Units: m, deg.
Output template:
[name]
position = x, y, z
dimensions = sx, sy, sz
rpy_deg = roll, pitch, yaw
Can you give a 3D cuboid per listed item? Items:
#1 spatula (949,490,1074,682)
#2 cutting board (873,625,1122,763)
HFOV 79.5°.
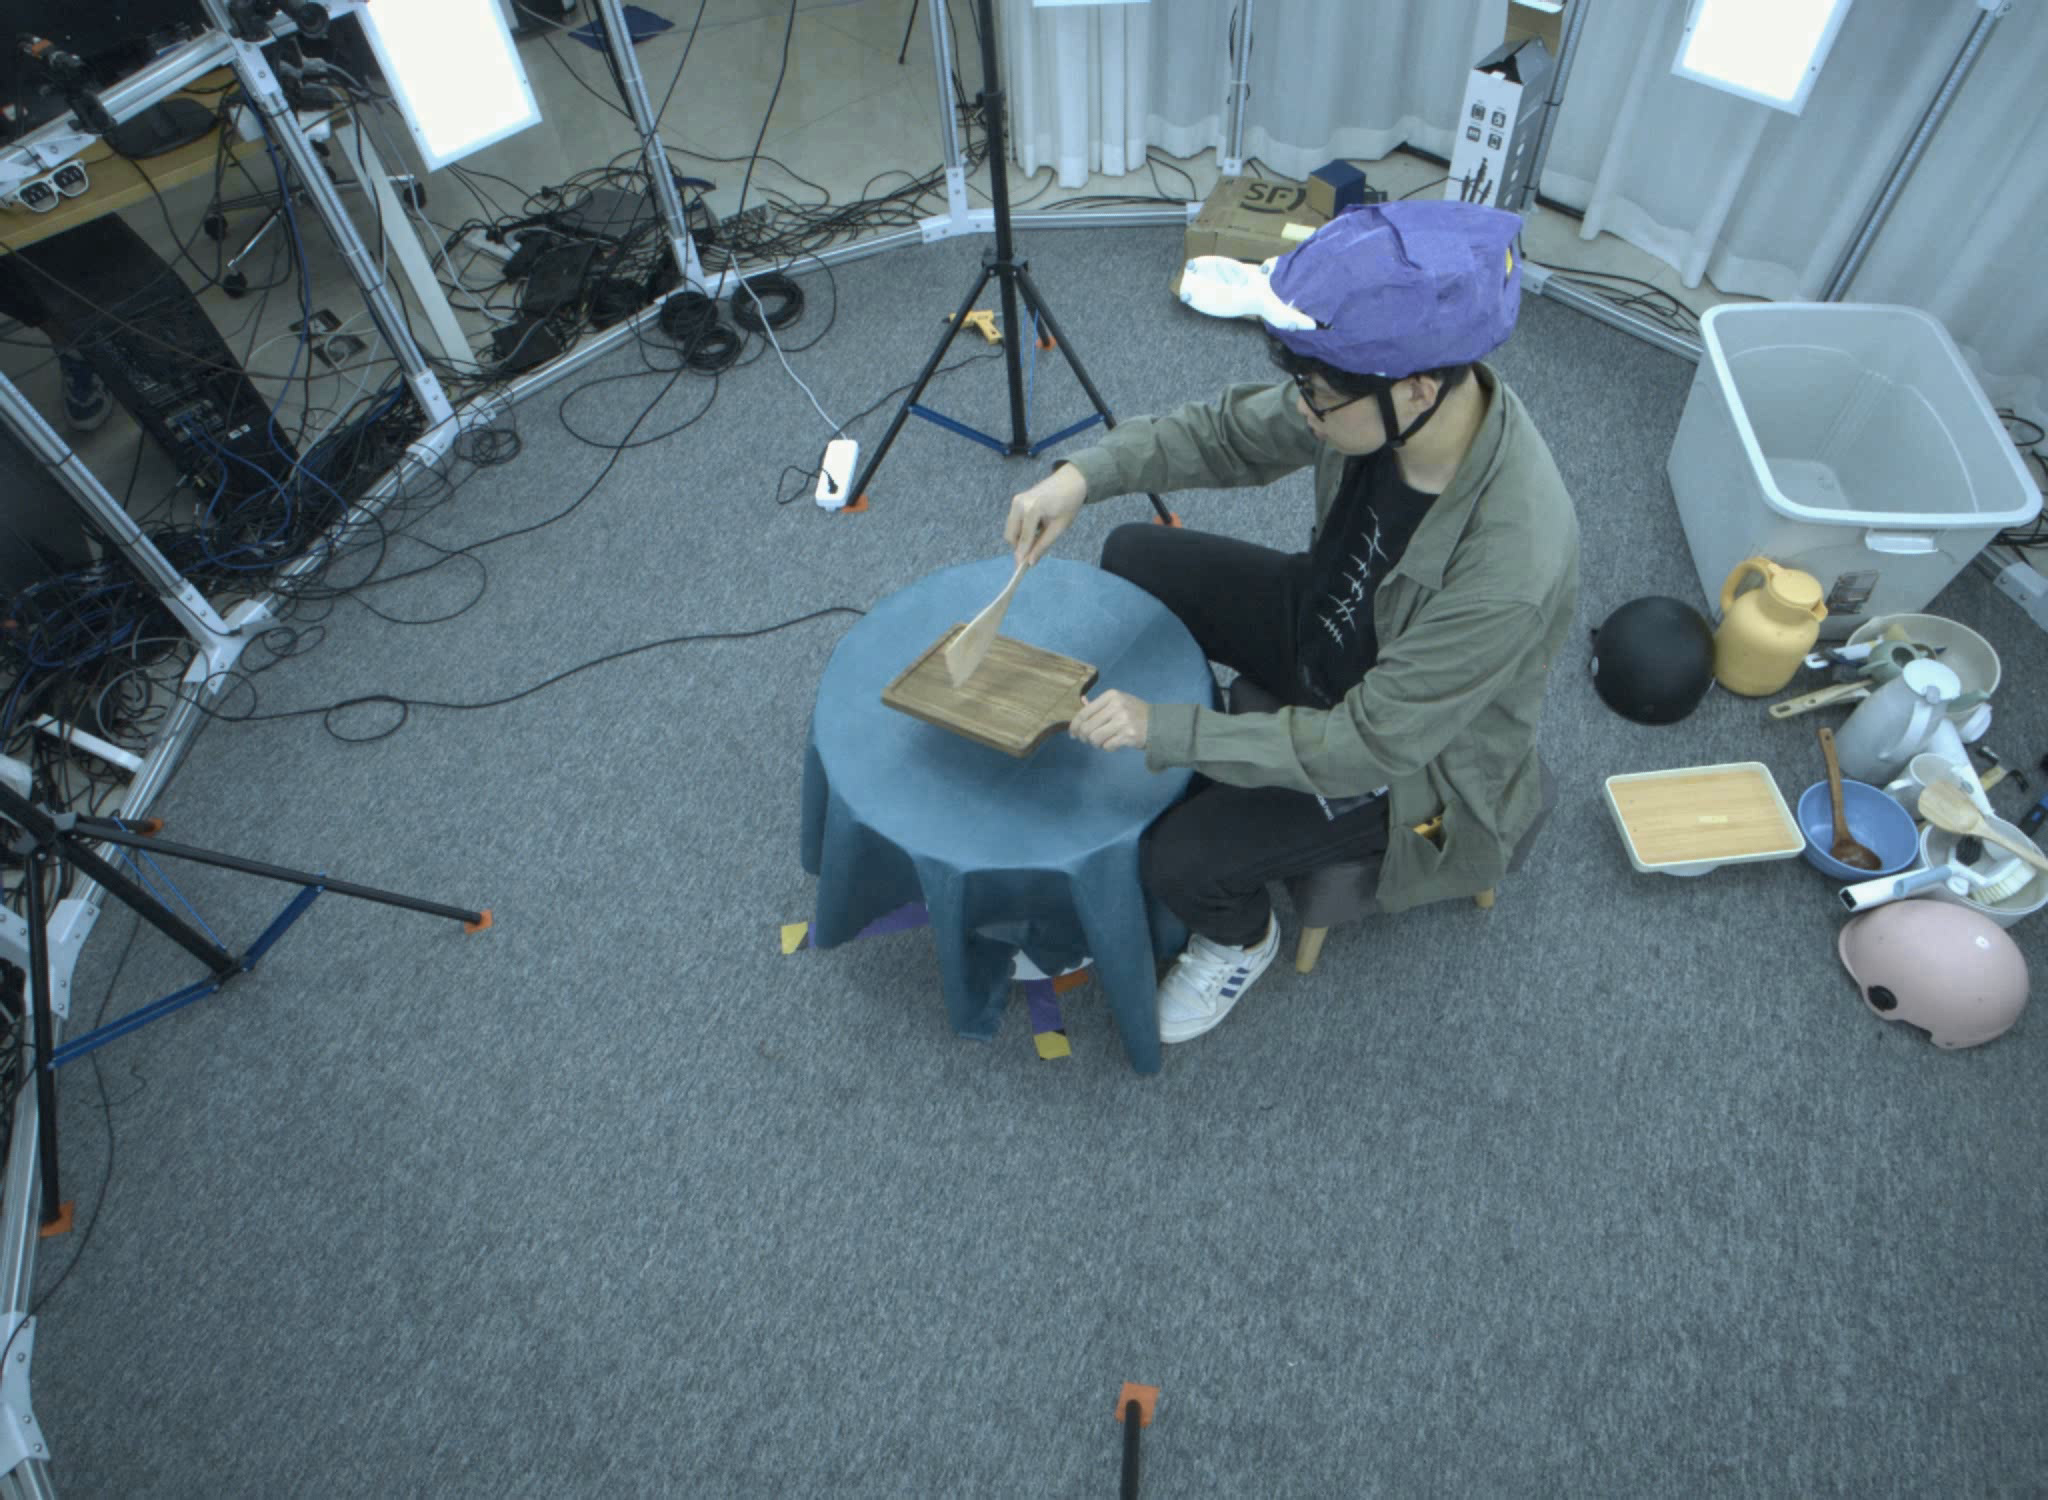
[spatula]
position = -0.014, -0.239, 1.703
dimensions = 0.016, 0.081, 0.328
rpy_deg = 22, 69, 24
[cutting board]
position = -0.018, -0.068, 1.707
dimensions = 0.345, 0.023, 0.202
rpy_deg = 22, 50, 26
